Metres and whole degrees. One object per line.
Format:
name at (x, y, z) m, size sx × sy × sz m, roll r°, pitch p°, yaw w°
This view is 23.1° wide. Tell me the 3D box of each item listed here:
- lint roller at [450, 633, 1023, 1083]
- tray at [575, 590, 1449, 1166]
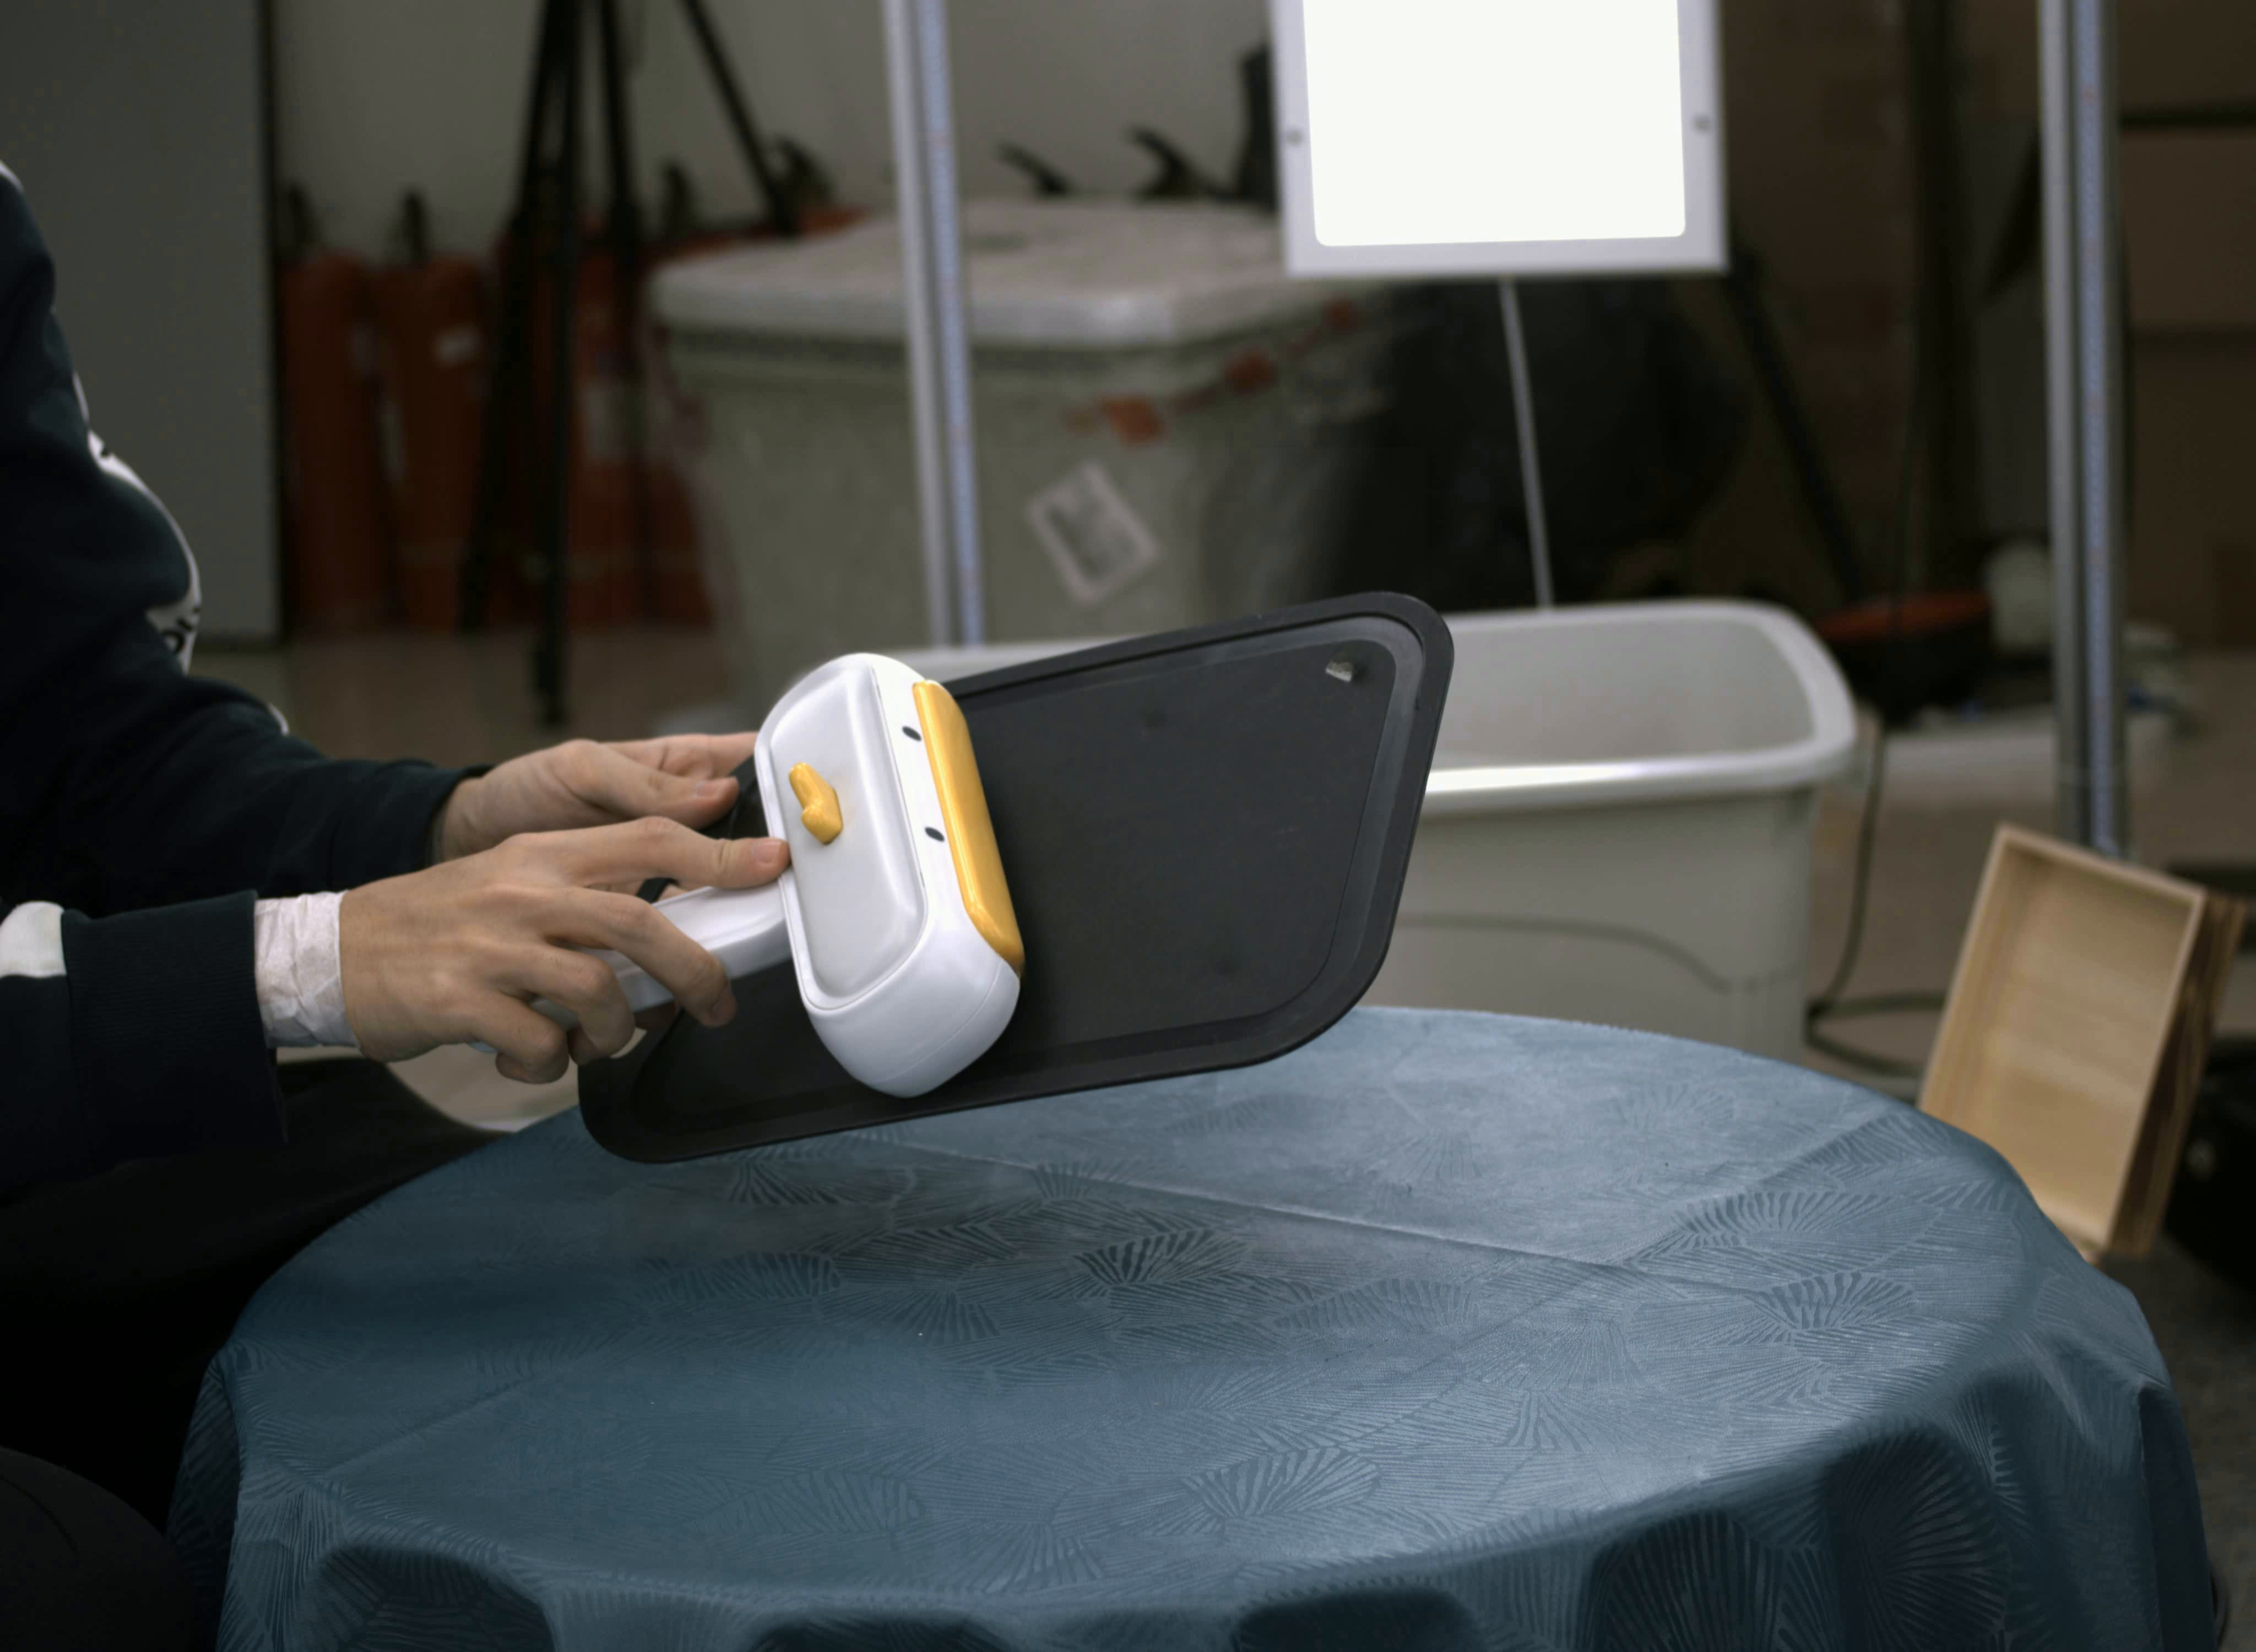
lint roller at (-0.136, 0.034, 1.853) m, size 0.193 × 0.073 × 0.194 m, roll -33°, pitch 40°, yaw 9°
tray at (-0.047, 0.018, 1.851) m, size 0.332 × 0.010 × 0.209 m, roll -12°, pitch 44°, yaw 30°
